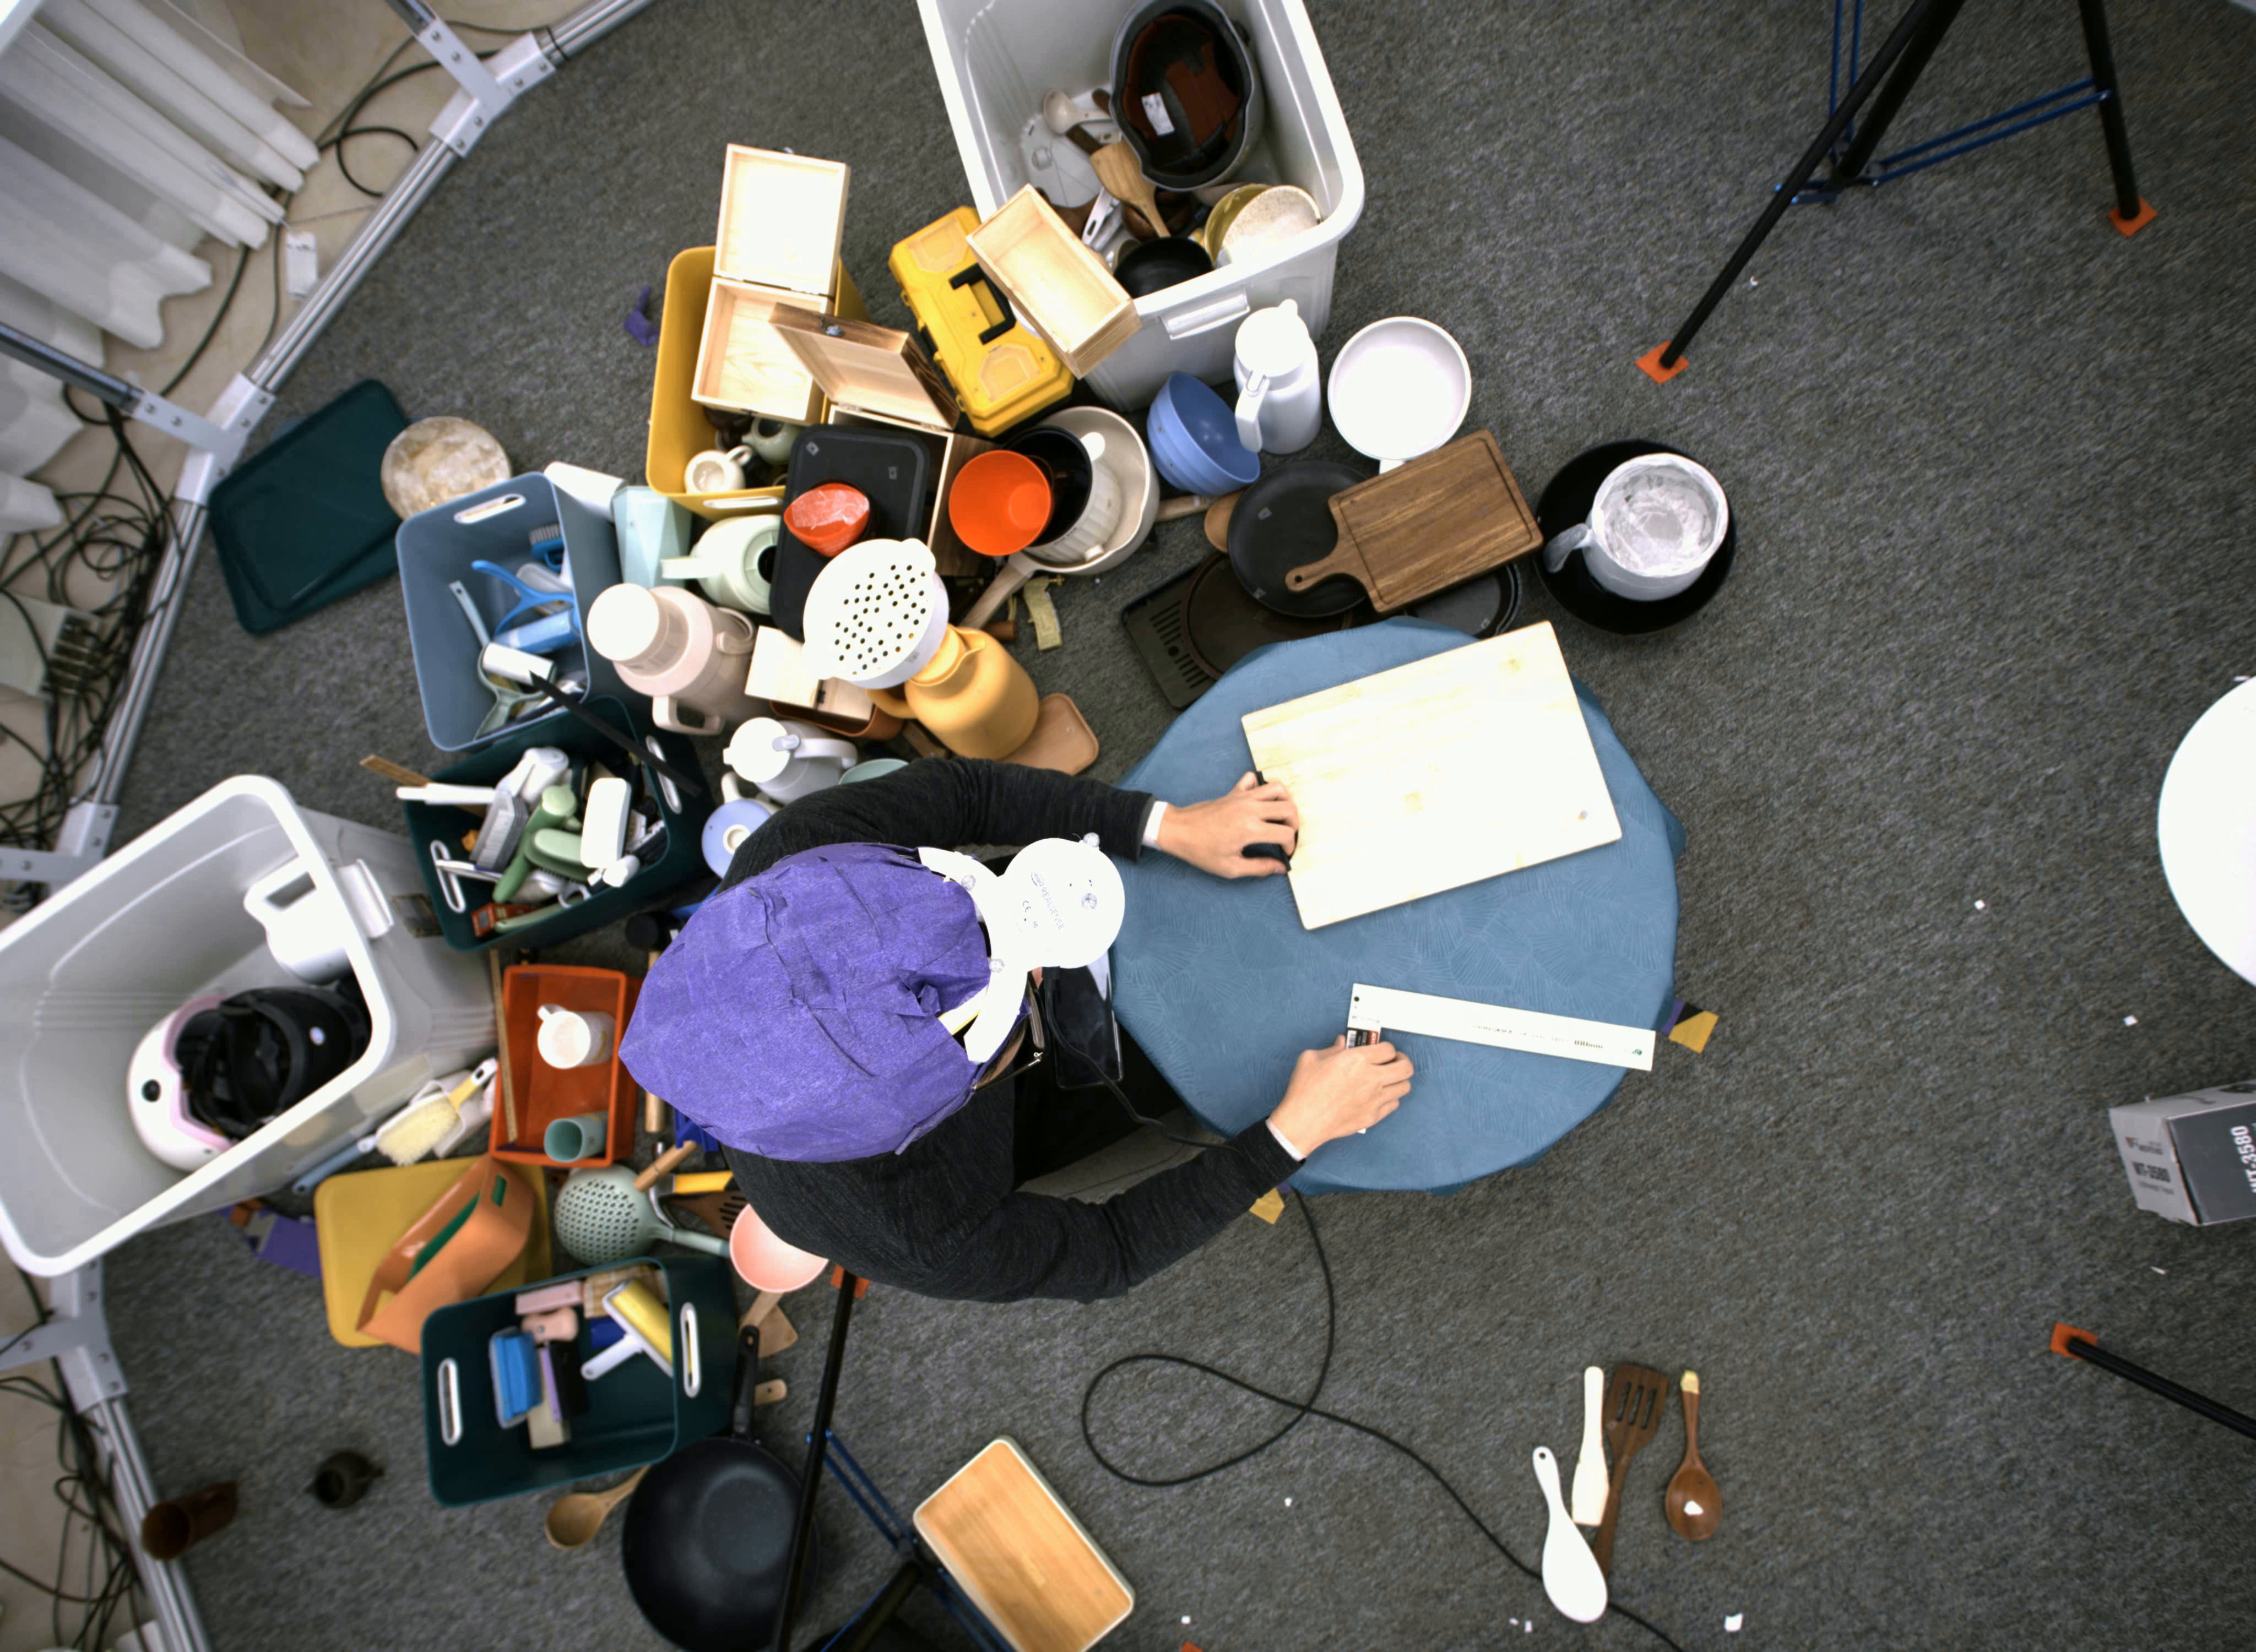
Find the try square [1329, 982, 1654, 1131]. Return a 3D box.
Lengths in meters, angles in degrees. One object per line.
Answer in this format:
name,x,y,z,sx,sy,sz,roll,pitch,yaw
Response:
try square,0.373,0.257,1.422,0.313,0.016,0.151,8,84,10

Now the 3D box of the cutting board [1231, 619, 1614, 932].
cutting board,0.310,-0.054,1.452,0.350,0.023,0.249,-19,83,9
